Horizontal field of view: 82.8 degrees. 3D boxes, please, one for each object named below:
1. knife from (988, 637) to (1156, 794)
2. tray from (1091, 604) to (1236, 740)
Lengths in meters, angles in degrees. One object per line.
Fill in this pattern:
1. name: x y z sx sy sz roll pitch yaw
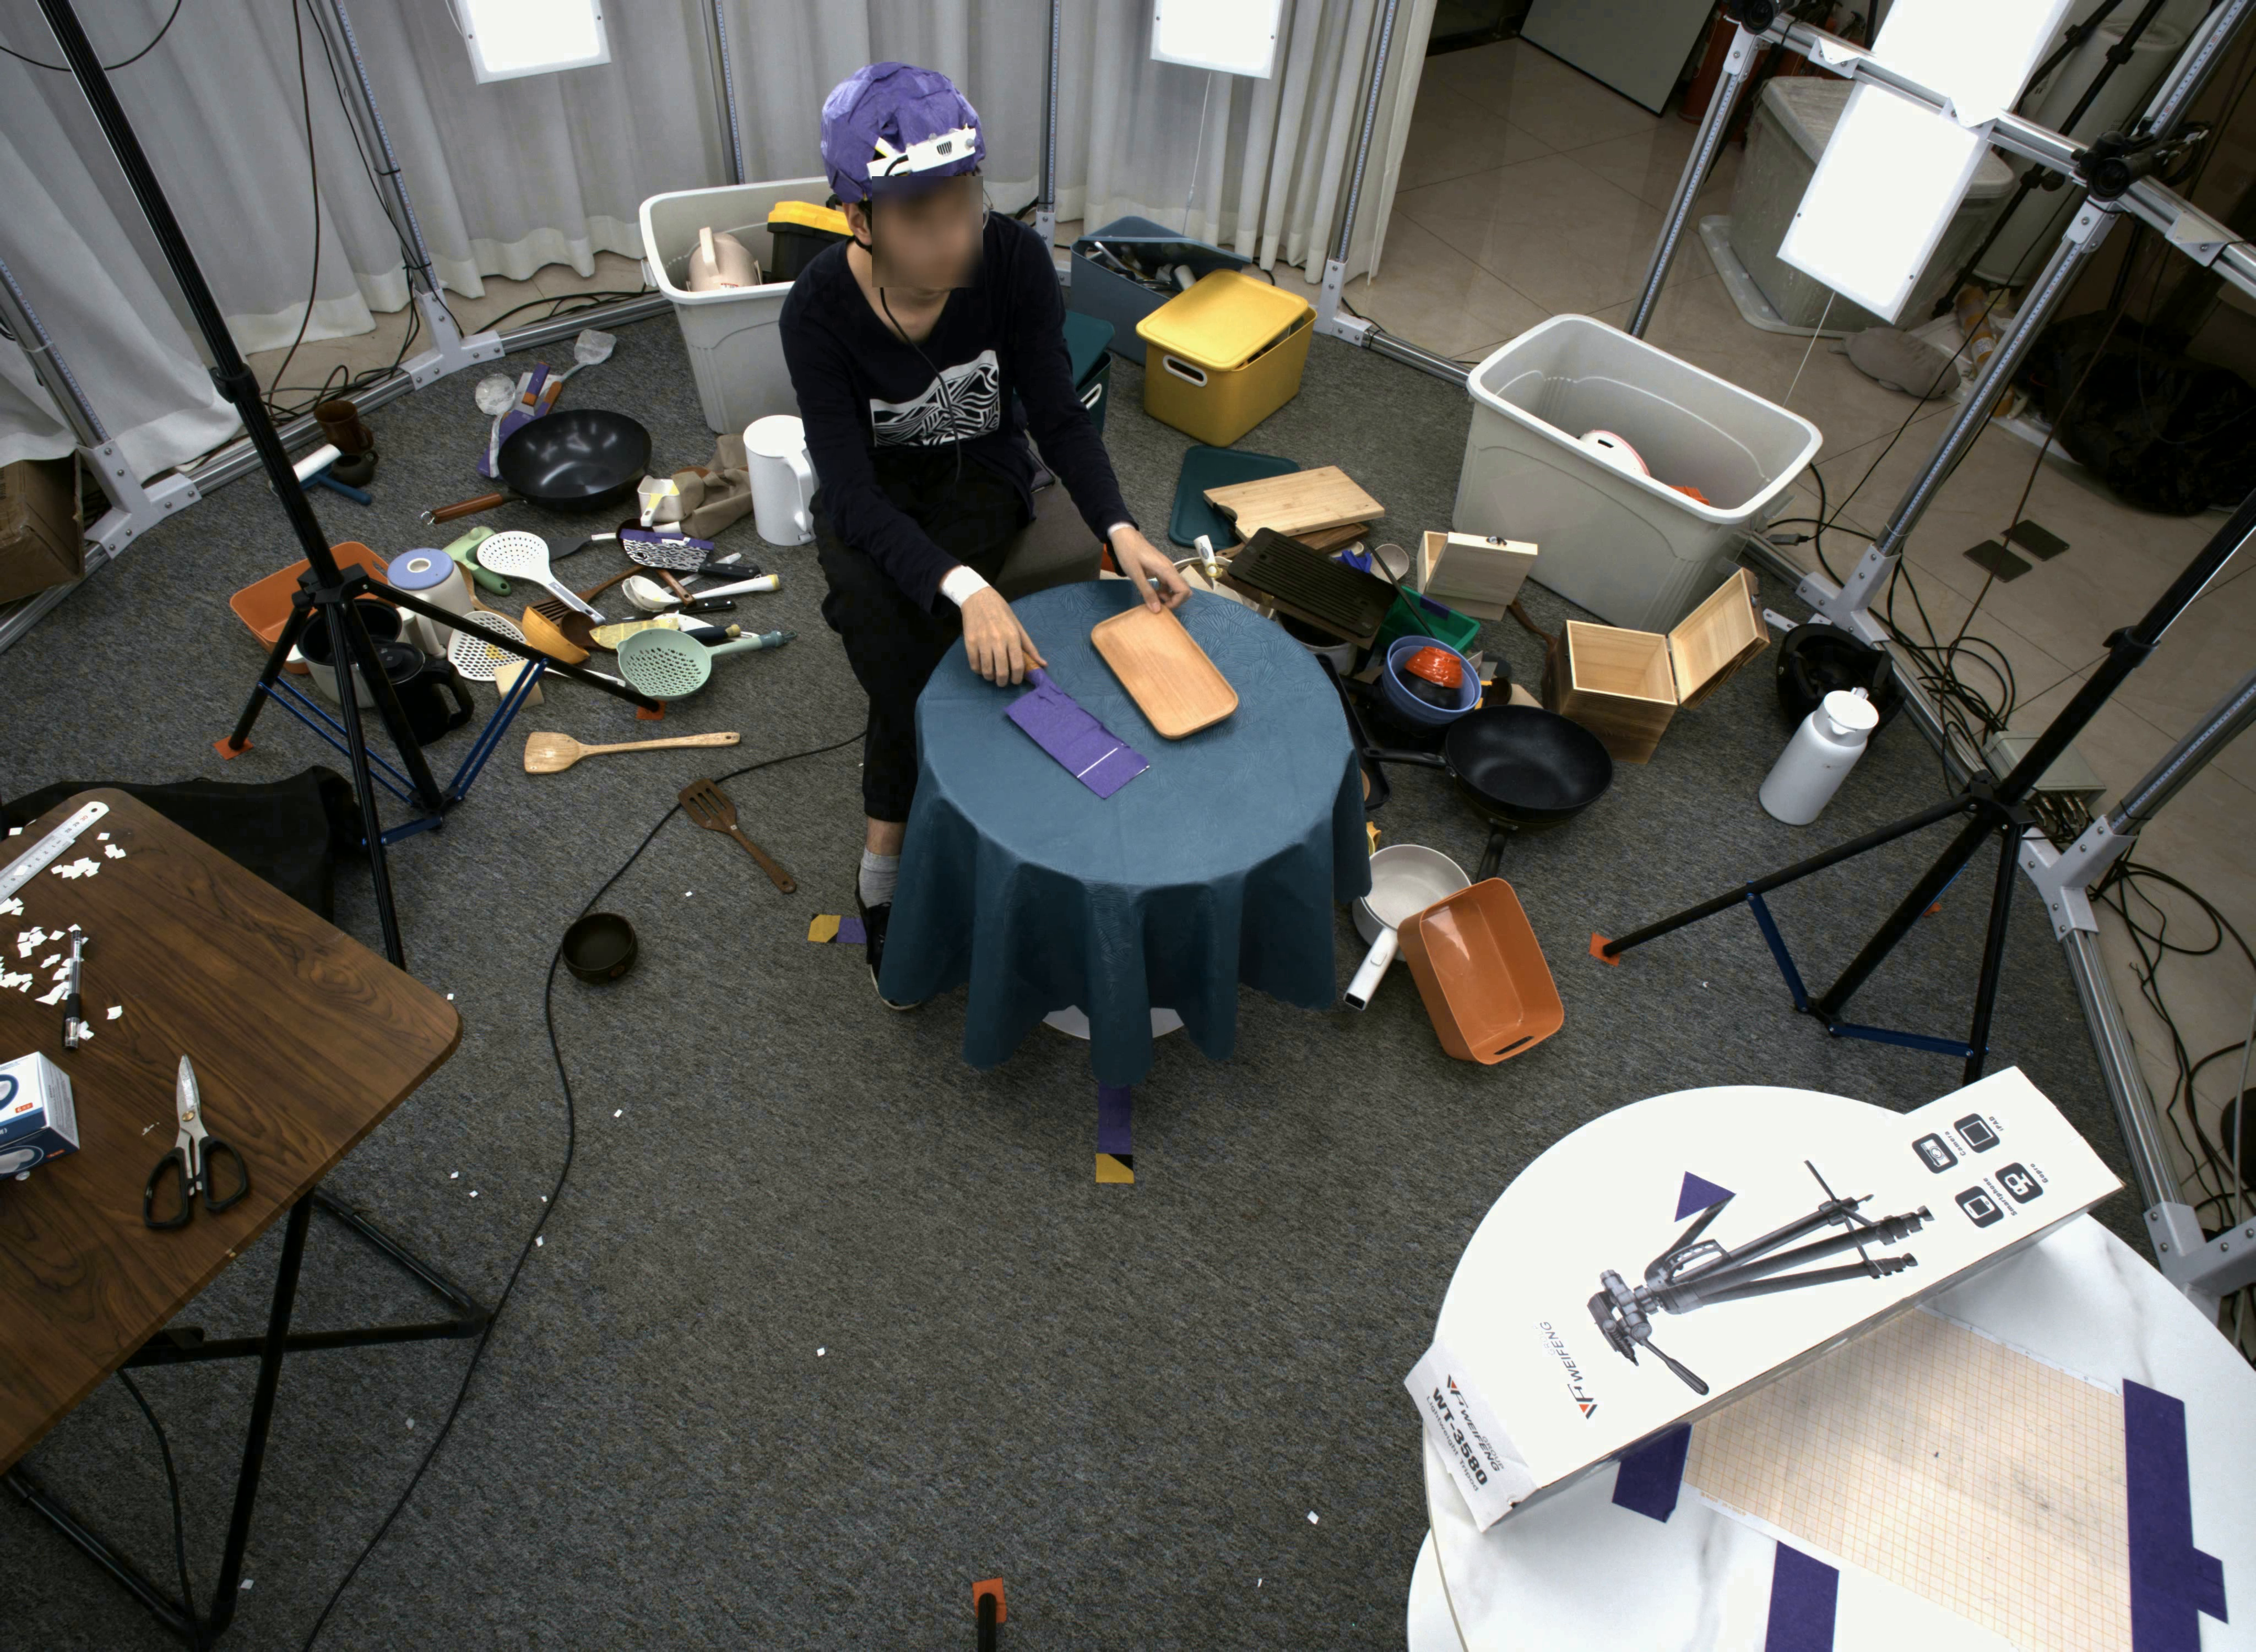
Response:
1. knife: -0.104 -0.157 1.779 0.105 0.031 0.320 -34 60 -29
2. tray: 0.049 -0.224 1.845 0.131 0.022 0.256 -23 55 -11
